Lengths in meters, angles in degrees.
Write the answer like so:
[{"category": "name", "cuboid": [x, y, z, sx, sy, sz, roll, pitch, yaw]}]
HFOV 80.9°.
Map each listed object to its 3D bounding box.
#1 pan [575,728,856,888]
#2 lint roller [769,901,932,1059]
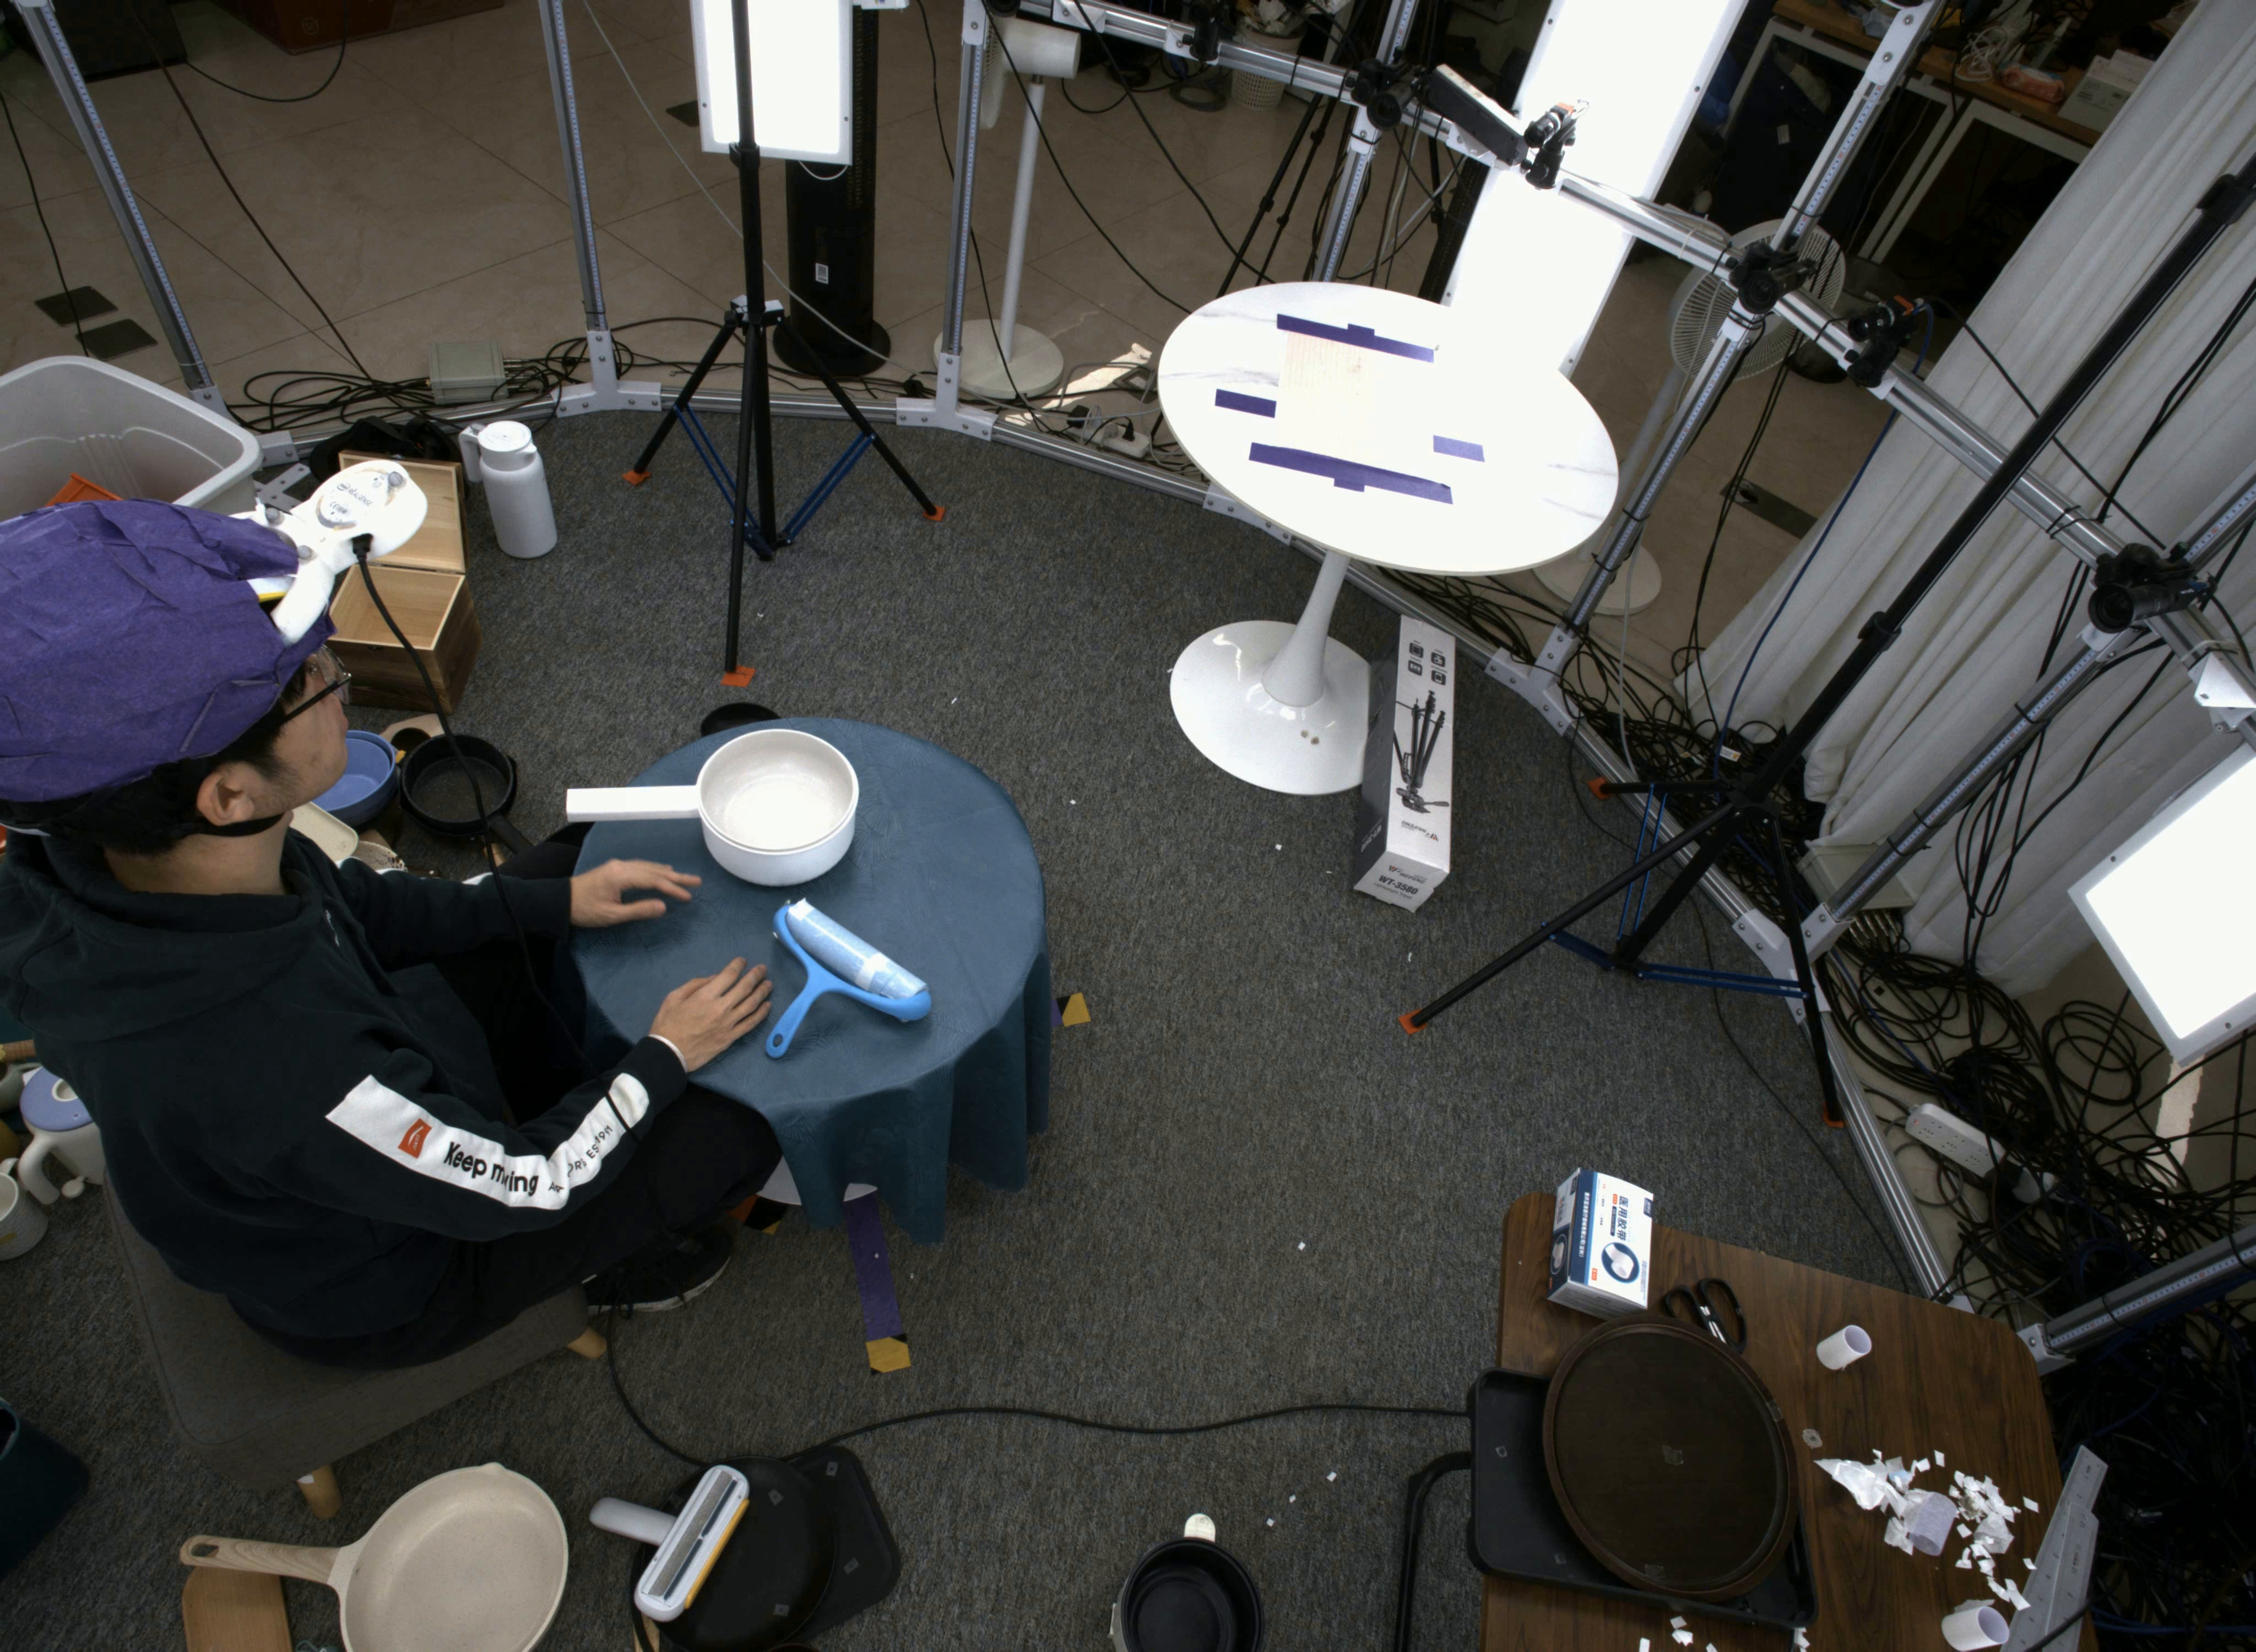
[{"category": "pan", "cuboid": [-0.526, -0.015, 1.651, 0.355, 0.104, 0.197, -3, 56, -16]}, {"category": "lint roller", "cuboid": [-0.366, 0.198, 1.562, 0.226, 0.069, 0.179, 31, 52, 7]}]
